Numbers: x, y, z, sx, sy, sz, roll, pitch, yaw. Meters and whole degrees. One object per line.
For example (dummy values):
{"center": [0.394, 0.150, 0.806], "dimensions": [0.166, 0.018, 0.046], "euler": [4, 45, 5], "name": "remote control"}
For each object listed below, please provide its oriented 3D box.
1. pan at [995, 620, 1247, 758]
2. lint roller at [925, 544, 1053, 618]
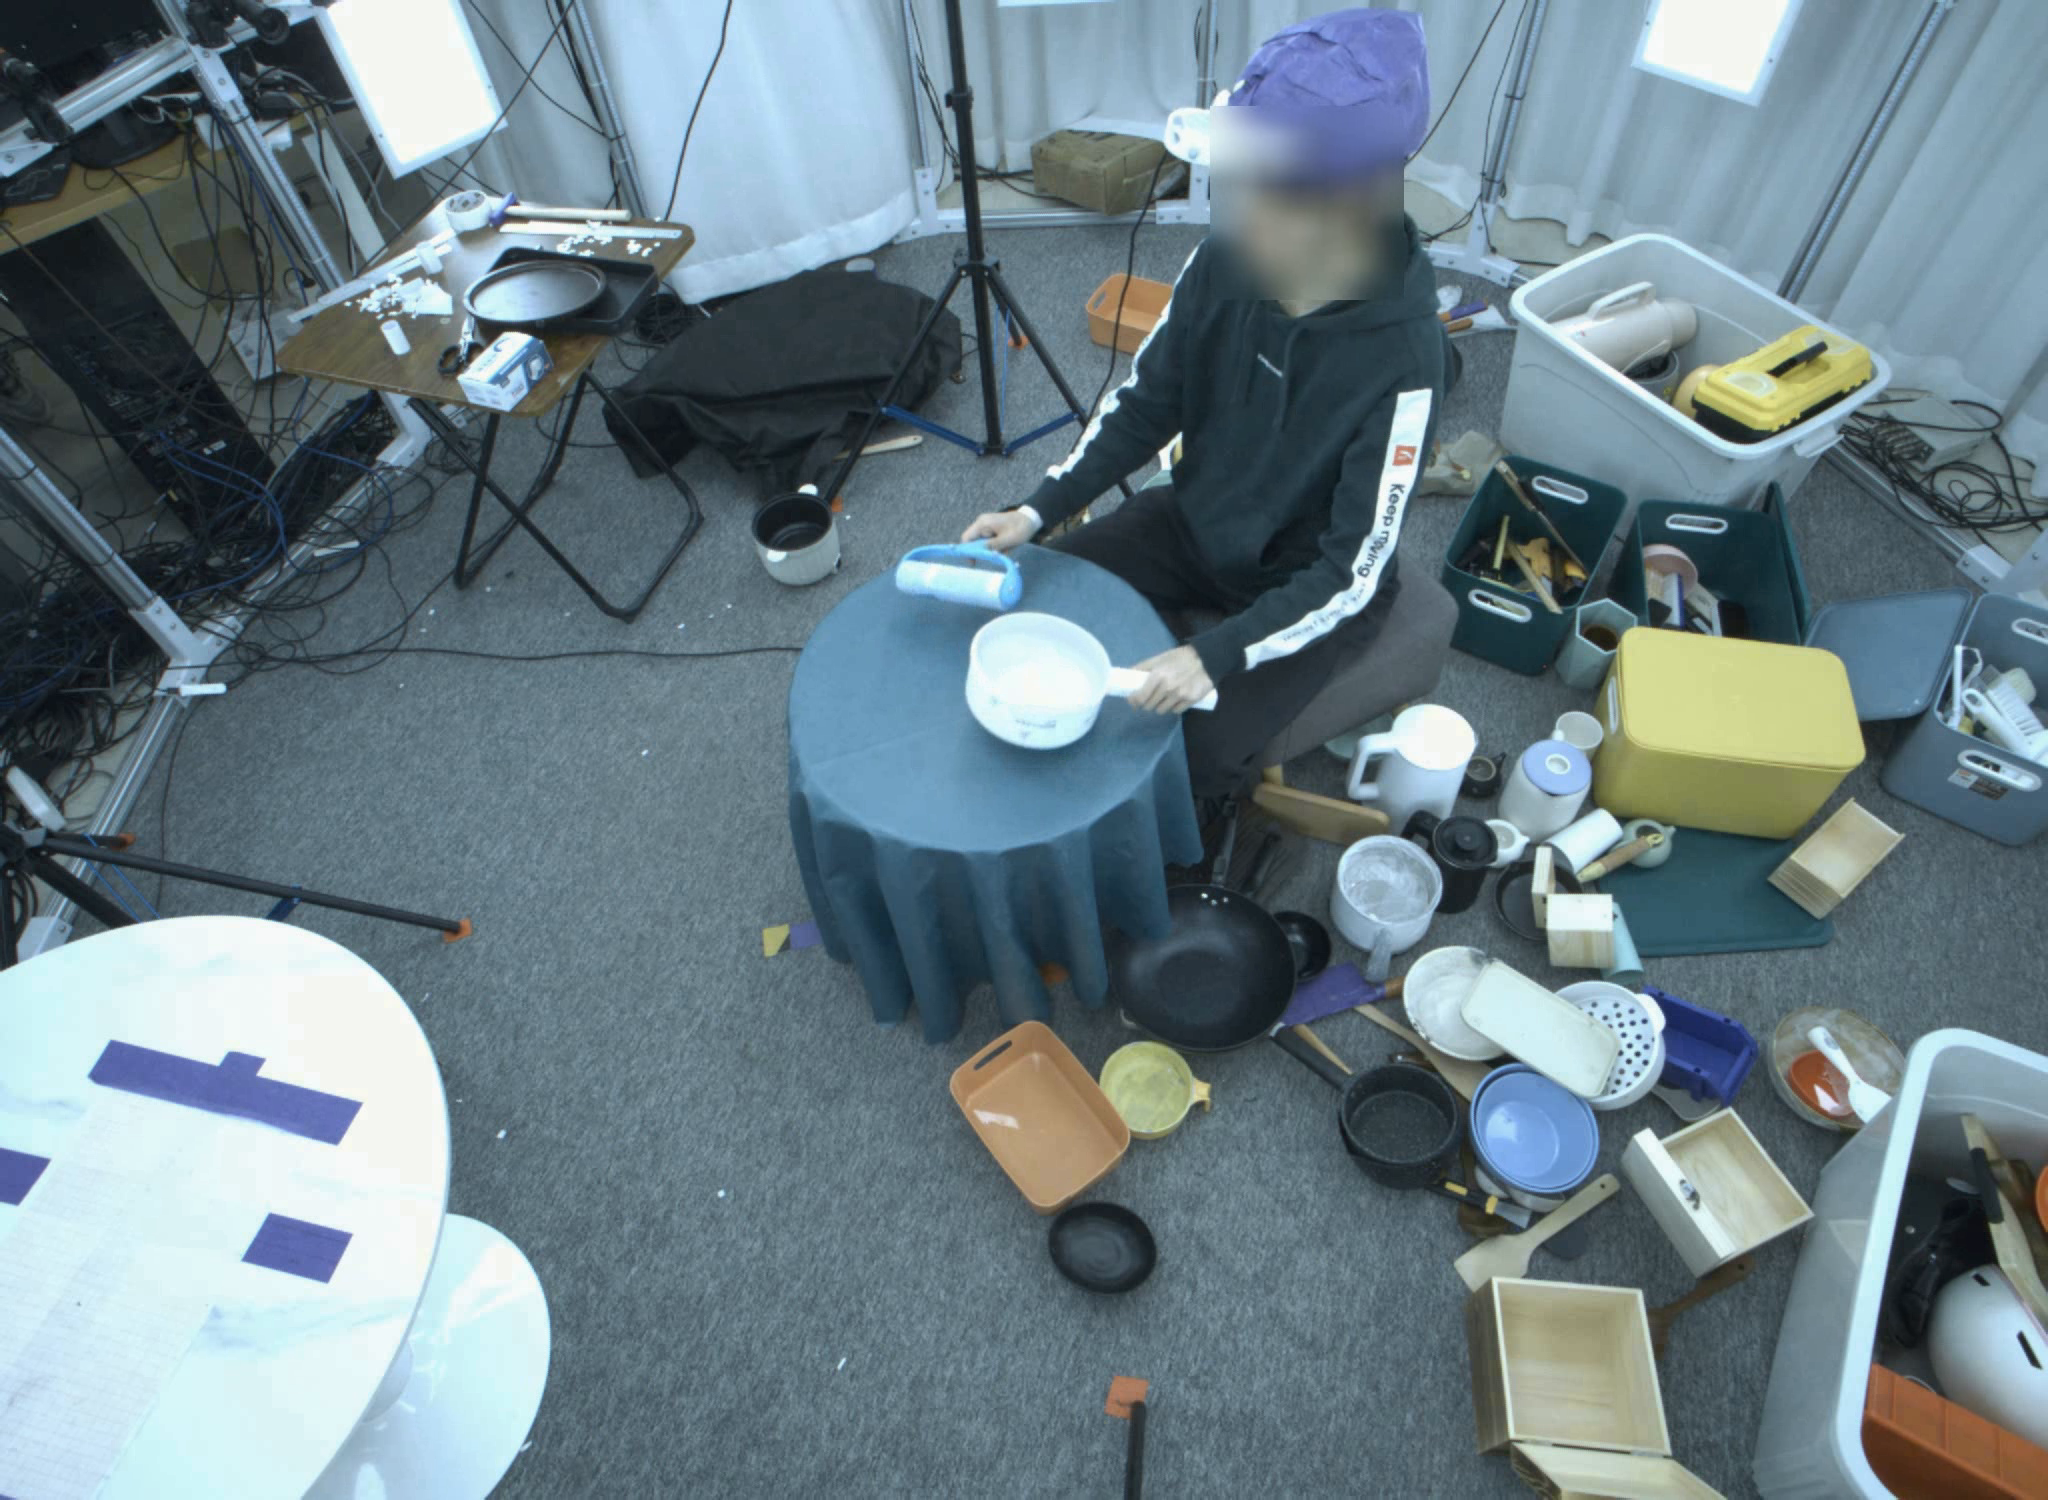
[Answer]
{"center": [0.133, -0.068, 1.752], "dimensions": [0.357, 0.102, 0.199], "euler": [10, 46, -9], "name": "pan"}
{"center": [-0.027, -0.280, 1.878], "dimensions": [0.224, 0.069, 0.181], "euler": [14, 47, 31], "name": "lint roller"}
